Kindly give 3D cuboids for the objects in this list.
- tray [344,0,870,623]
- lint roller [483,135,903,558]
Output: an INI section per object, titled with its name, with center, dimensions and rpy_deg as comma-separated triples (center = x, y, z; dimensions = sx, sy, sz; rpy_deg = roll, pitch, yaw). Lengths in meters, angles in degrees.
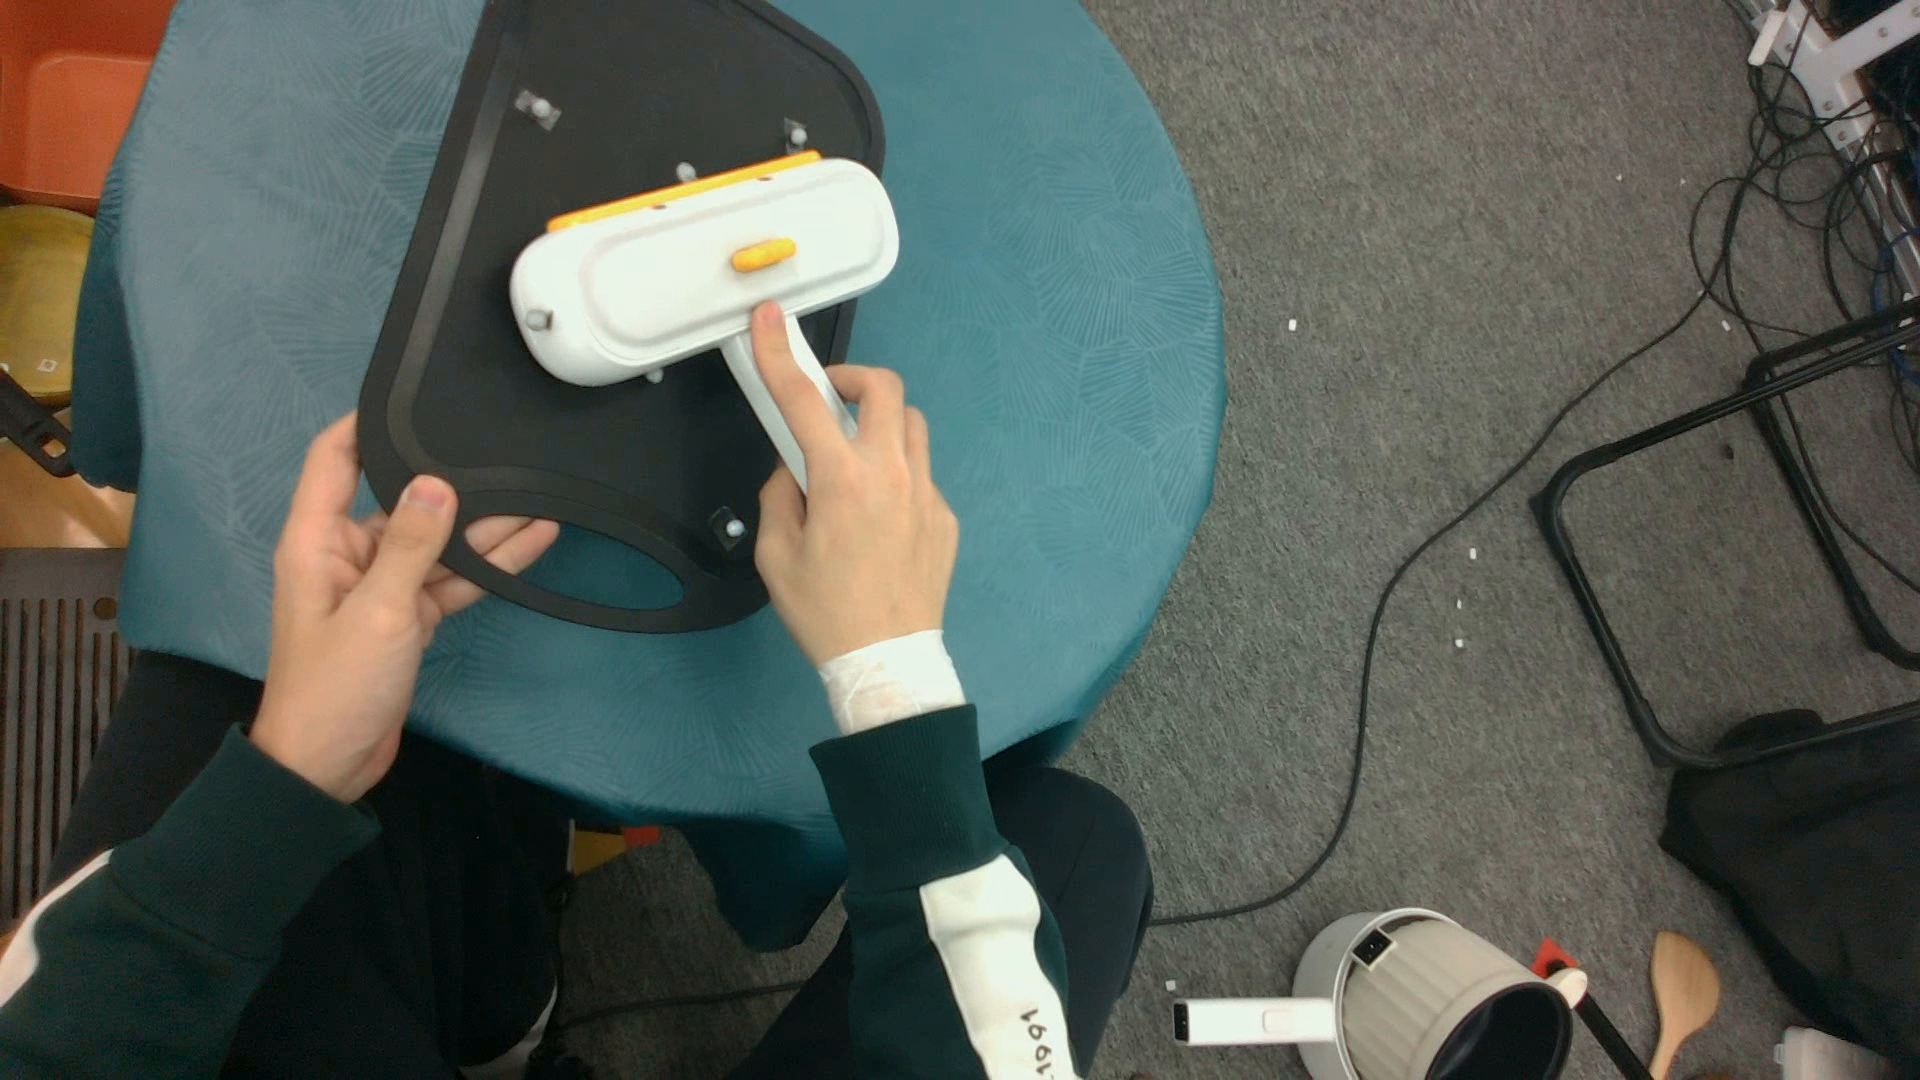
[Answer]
[tray]
center = -0.145, -0.124, 0.630
dimensions = 0.211, 0.010, 0.326
rpy_deg = 23, 70, -37
[lint roller]
center = -0.090, -0.076, 0.623
dimensions = 0.194, 0.074, 0.192
rpy_deg = -37, 107, -43
